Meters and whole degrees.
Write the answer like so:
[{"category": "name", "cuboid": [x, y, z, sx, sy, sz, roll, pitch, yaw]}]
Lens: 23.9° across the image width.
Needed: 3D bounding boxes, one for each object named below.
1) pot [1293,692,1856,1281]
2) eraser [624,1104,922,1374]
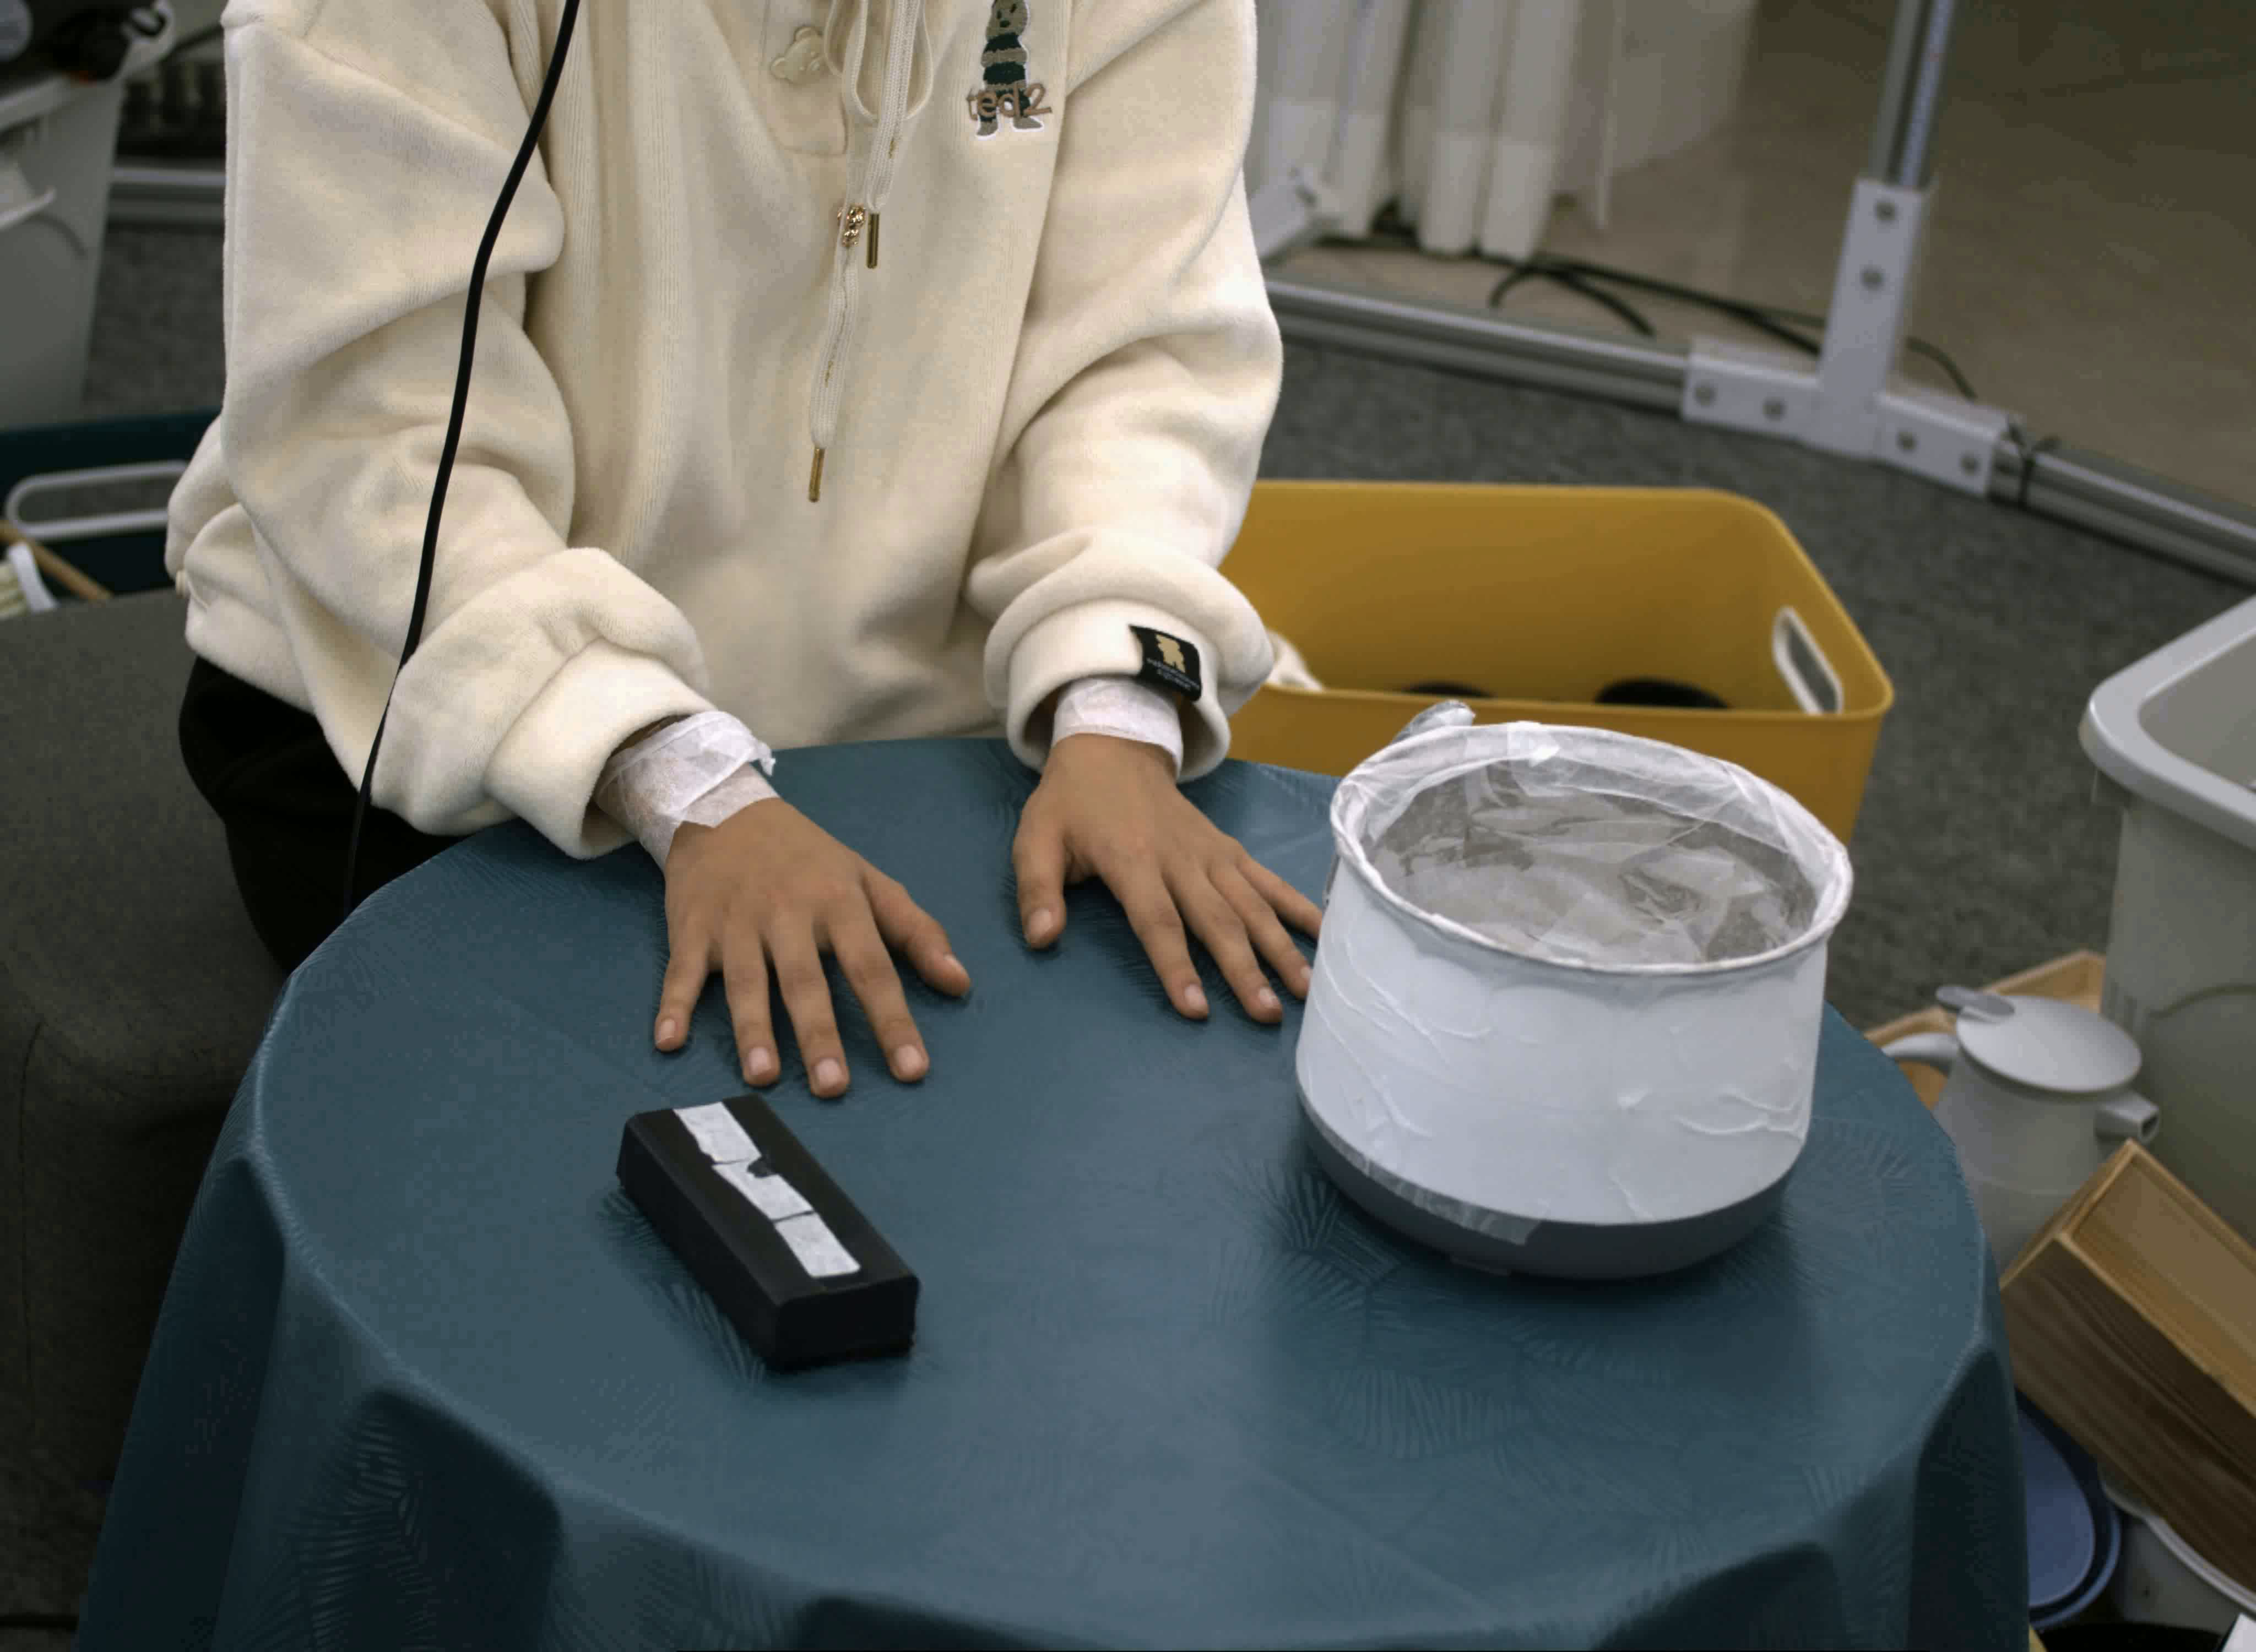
[{"category": "pot", "cuboid": [0.136, 0.048, 1.828, 0.177, 0.136, 0.236, -7, 31, -26]}, {"category": "eraser", "cuboid": [-0.116, 0.133, 1.728, 0.053, 0.030, 0.126, -7, 29, -27]}]
